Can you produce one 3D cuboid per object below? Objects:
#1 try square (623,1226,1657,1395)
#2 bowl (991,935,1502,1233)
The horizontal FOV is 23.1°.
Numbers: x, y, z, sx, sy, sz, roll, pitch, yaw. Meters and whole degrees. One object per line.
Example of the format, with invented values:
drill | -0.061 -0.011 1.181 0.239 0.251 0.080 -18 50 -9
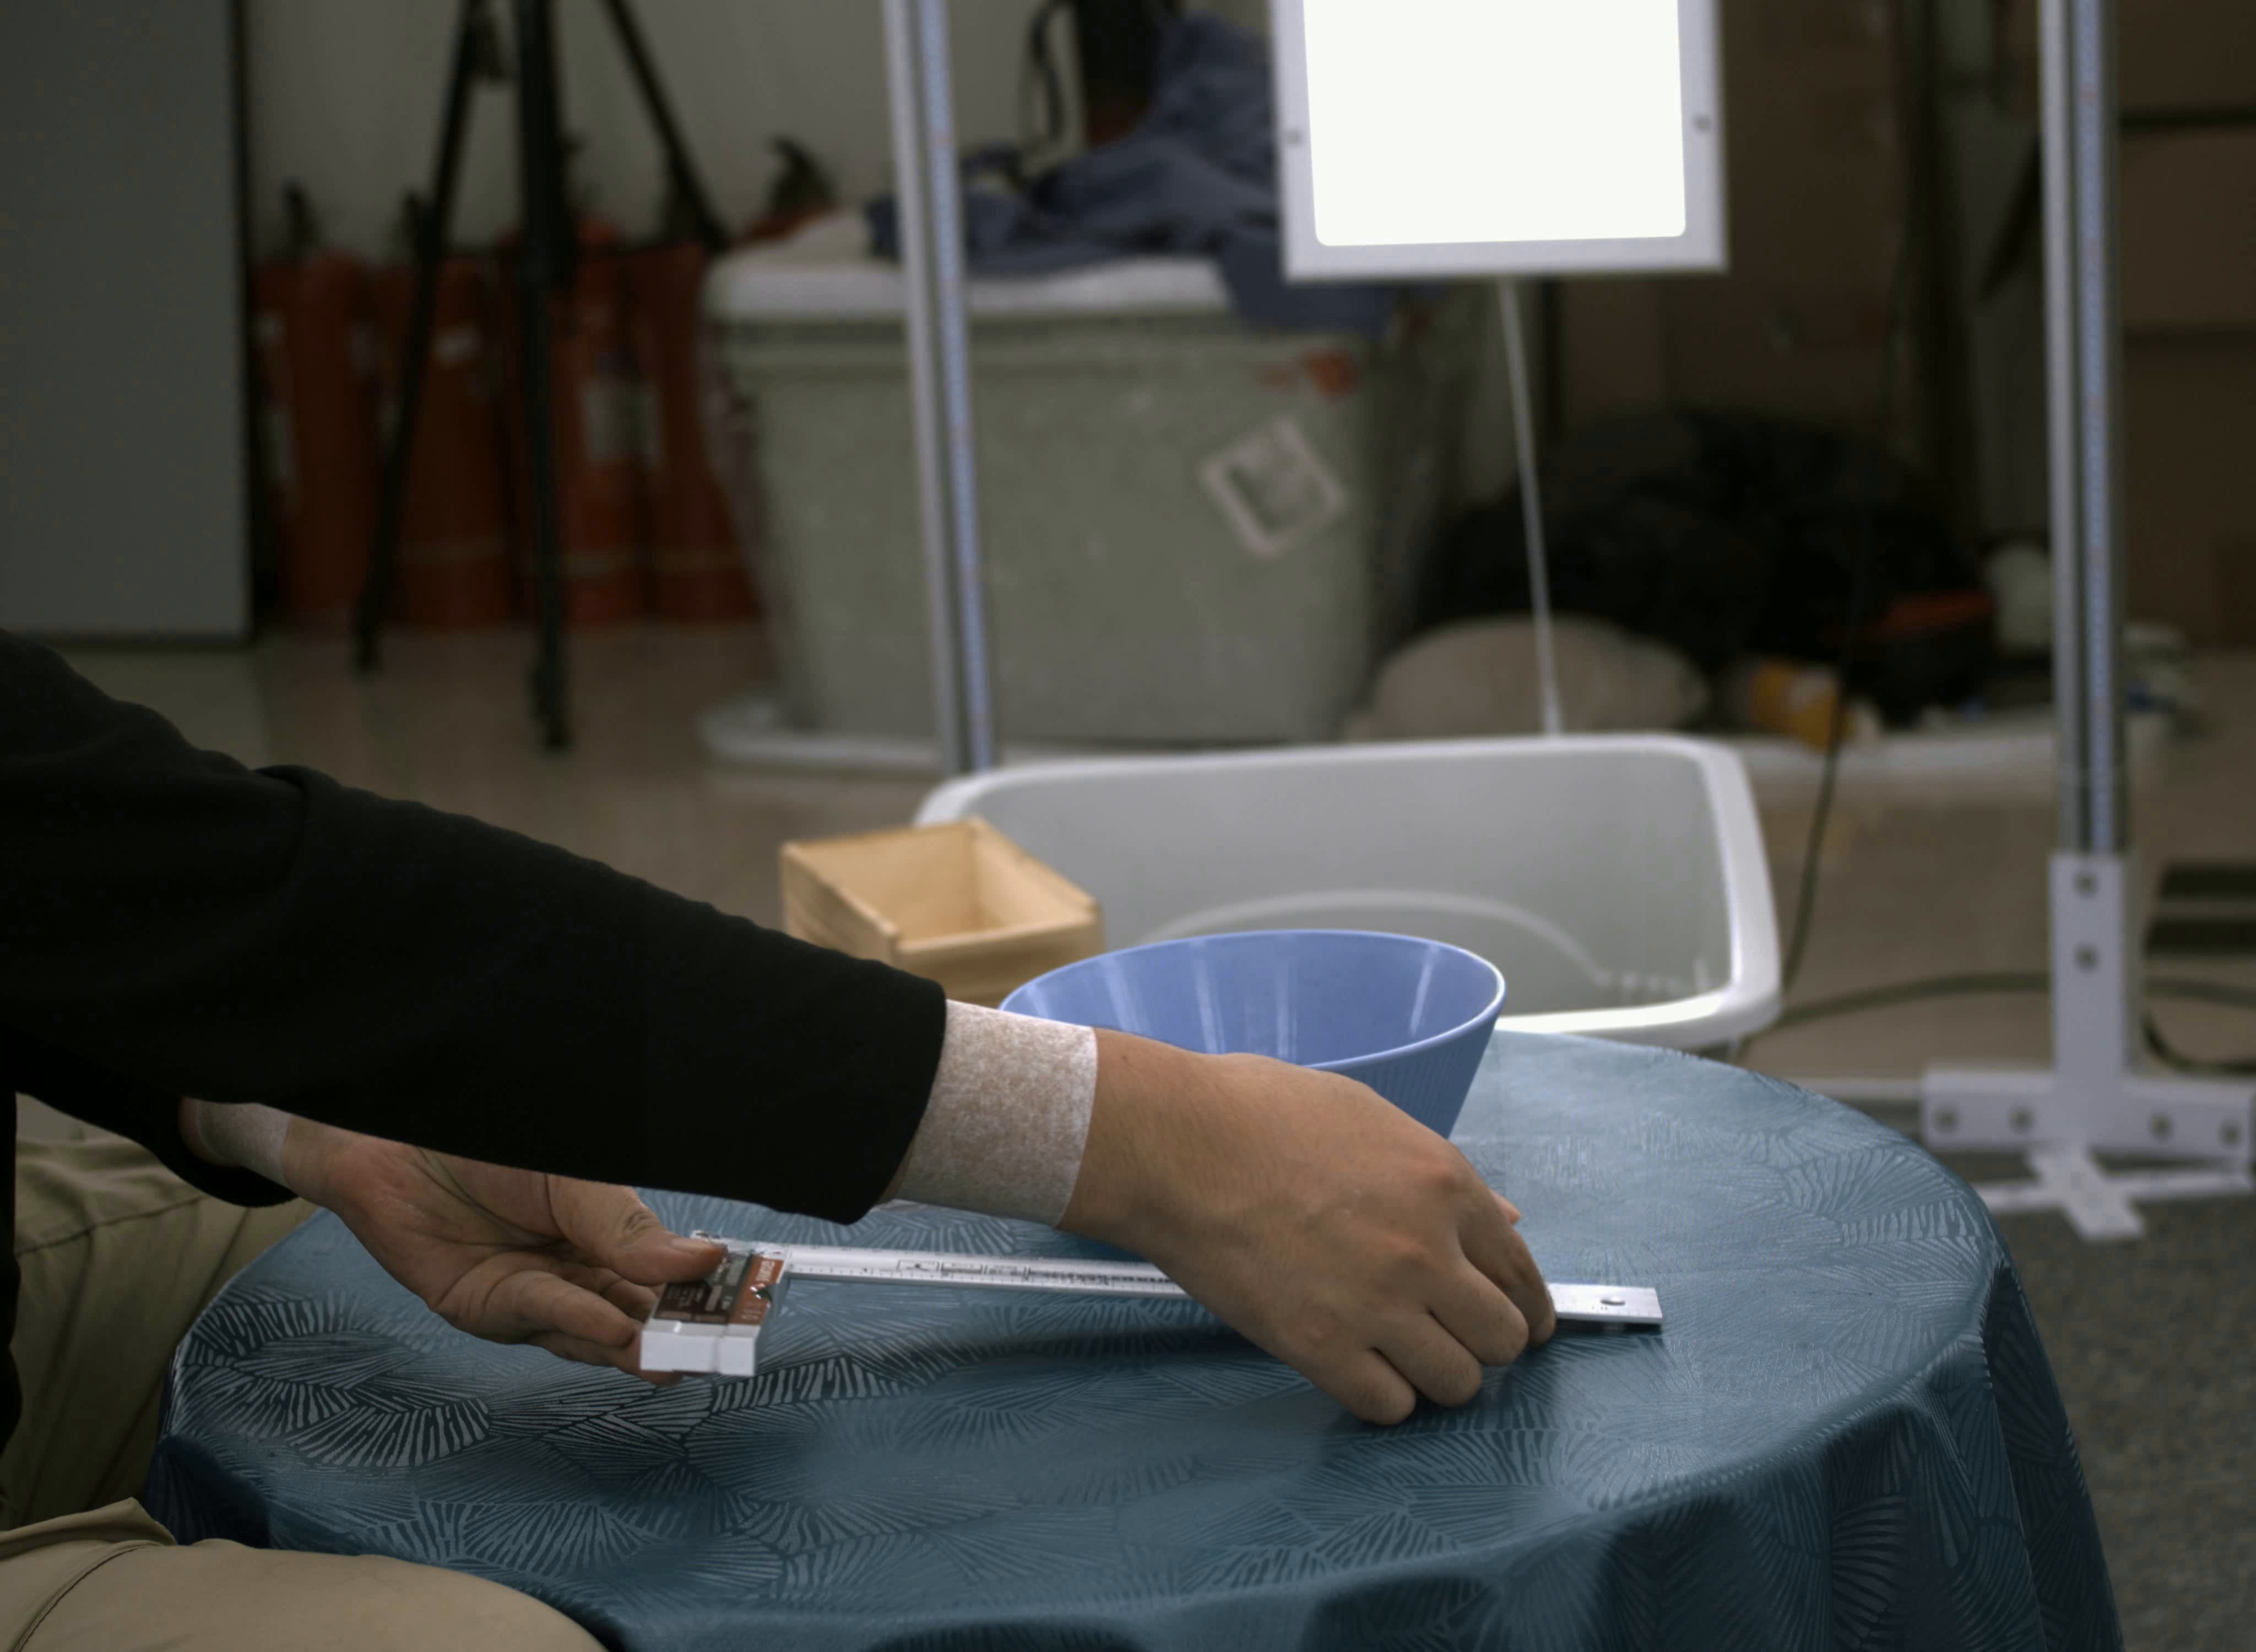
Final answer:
try square | 0.009 0.153 1.687 0.313 0.016 0.151 3 11 4
bowl | 0.042 0.090 1.884 0.175 0.070 0.176 -5 14 0
